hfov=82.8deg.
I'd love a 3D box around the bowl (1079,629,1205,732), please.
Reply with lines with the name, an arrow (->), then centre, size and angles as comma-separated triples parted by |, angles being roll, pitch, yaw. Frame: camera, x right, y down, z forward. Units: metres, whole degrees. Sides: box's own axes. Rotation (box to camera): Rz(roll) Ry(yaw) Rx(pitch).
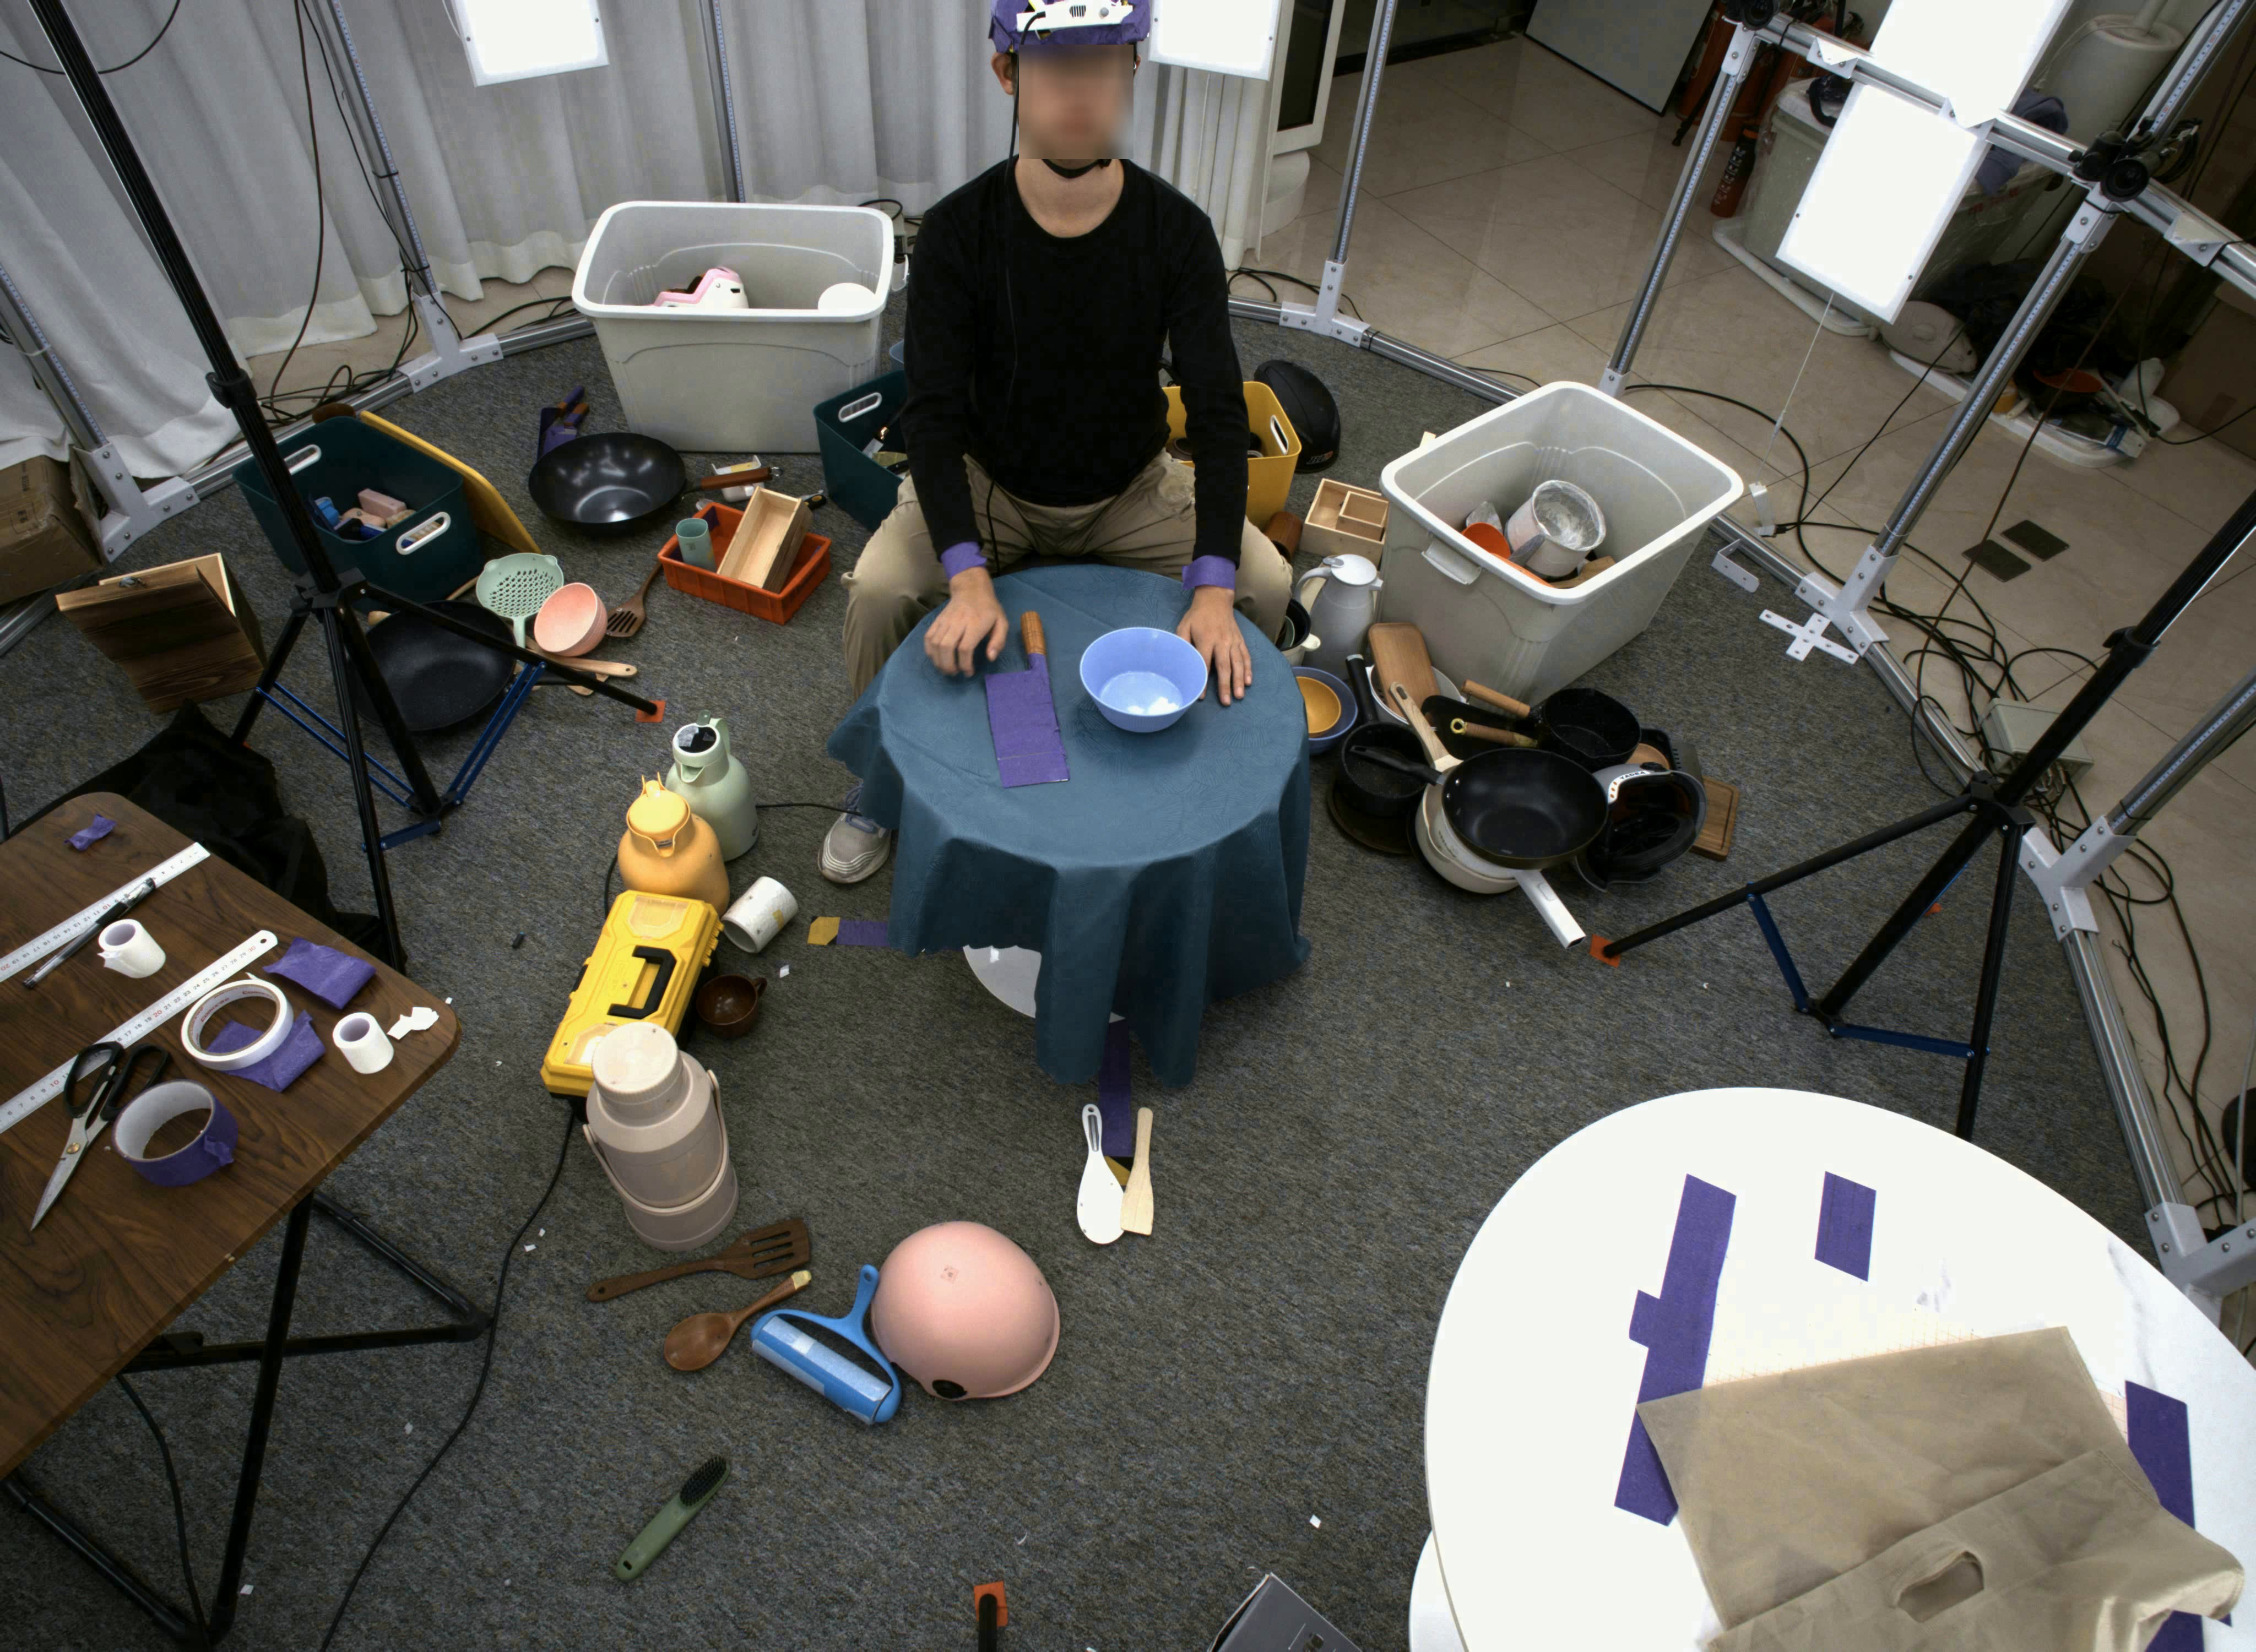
bowl -> 0.018, -0.195, 1.793 | 0.176, 0.068, 0.180 | 2, 48, -3

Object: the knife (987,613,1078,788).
knife -> -0.147, -0.181, 1.800 | 0.104, 0.031, 0.323 | -6, 51, -9
